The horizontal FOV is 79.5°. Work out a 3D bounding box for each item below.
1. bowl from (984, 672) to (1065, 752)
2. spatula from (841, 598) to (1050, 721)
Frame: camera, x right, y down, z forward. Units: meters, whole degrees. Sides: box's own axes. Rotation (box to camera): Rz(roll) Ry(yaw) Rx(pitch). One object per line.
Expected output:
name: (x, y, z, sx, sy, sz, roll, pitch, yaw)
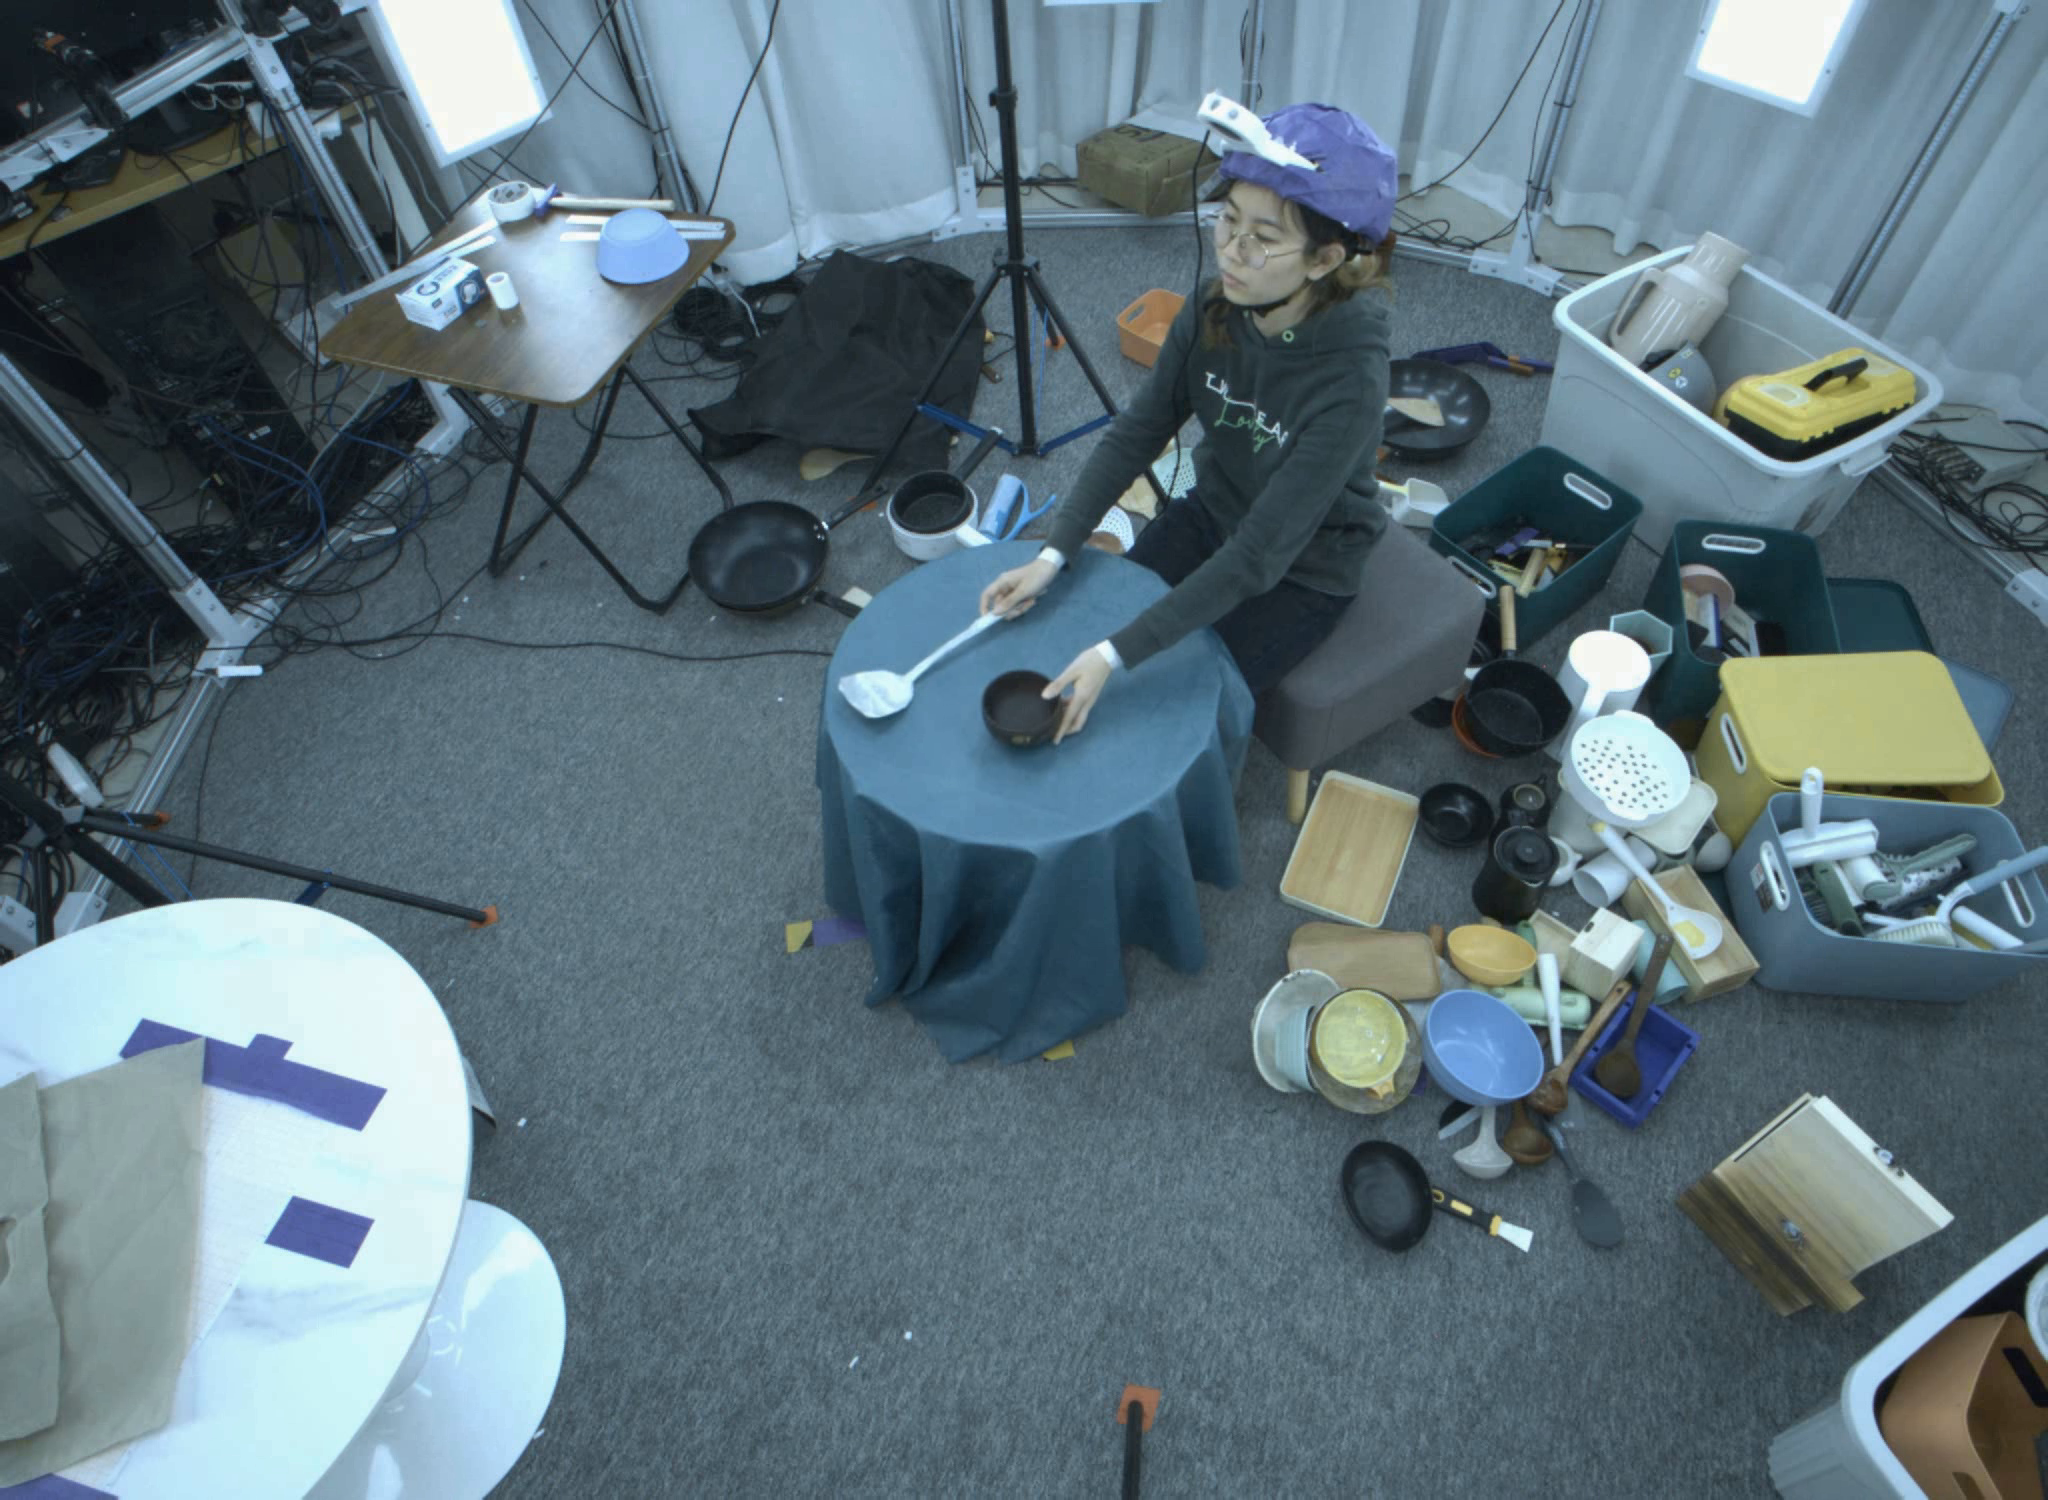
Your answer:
bowl: (0.001, -0.048, 1.787, 0.118, 0.070, 0.117, 0, 56, 1)
spatula: (-0.111, -0.153, 1.879, 0.367, 0.045, 0.097, -35, 60, -17)
